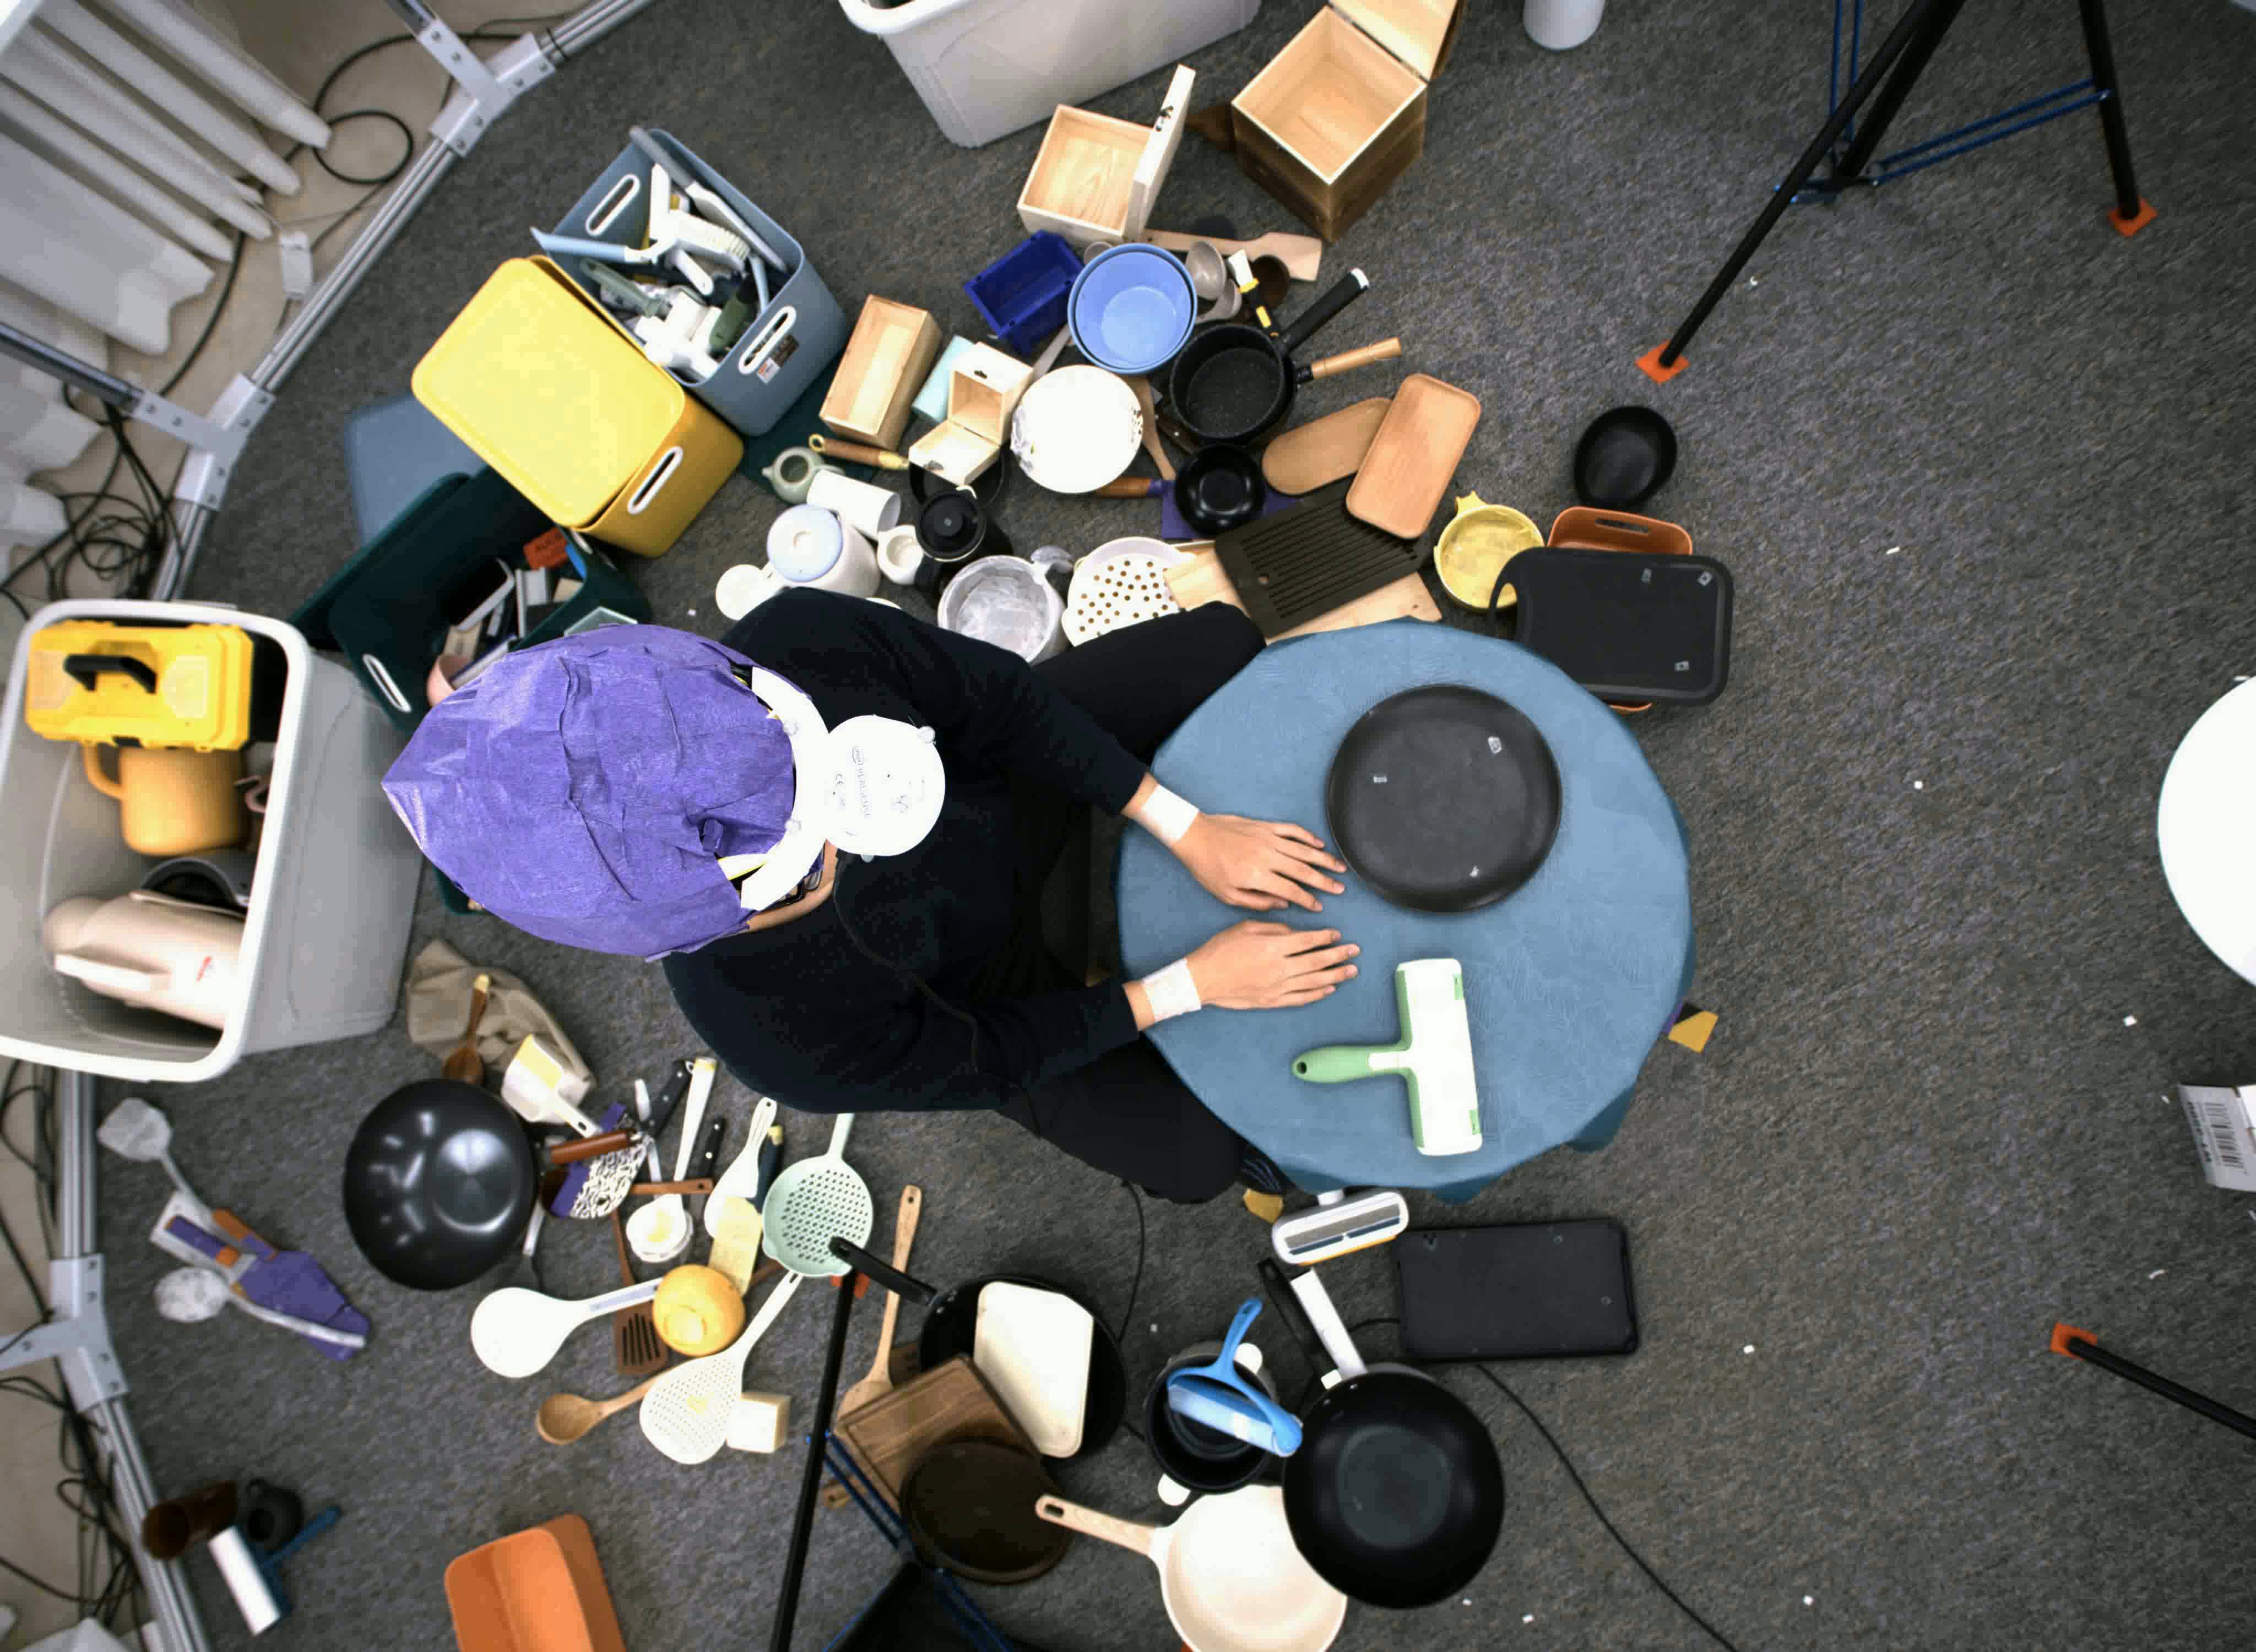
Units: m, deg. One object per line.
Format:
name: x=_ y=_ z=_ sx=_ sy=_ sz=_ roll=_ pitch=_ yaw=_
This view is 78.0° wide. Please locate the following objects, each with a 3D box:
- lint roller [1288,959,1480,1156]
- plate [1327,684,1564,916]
lint roller: x=0.256 y=0.239 z=1.410 sx=0.184 sy=0.082 sz=0.197 roll=-7 pitch=84 yaw=4
plate: x=0.331 y=-0.029 z=1.442 sx=0.245 sy=0.023 sz=0.243 roll=-1 pitch=87 yaw=11
